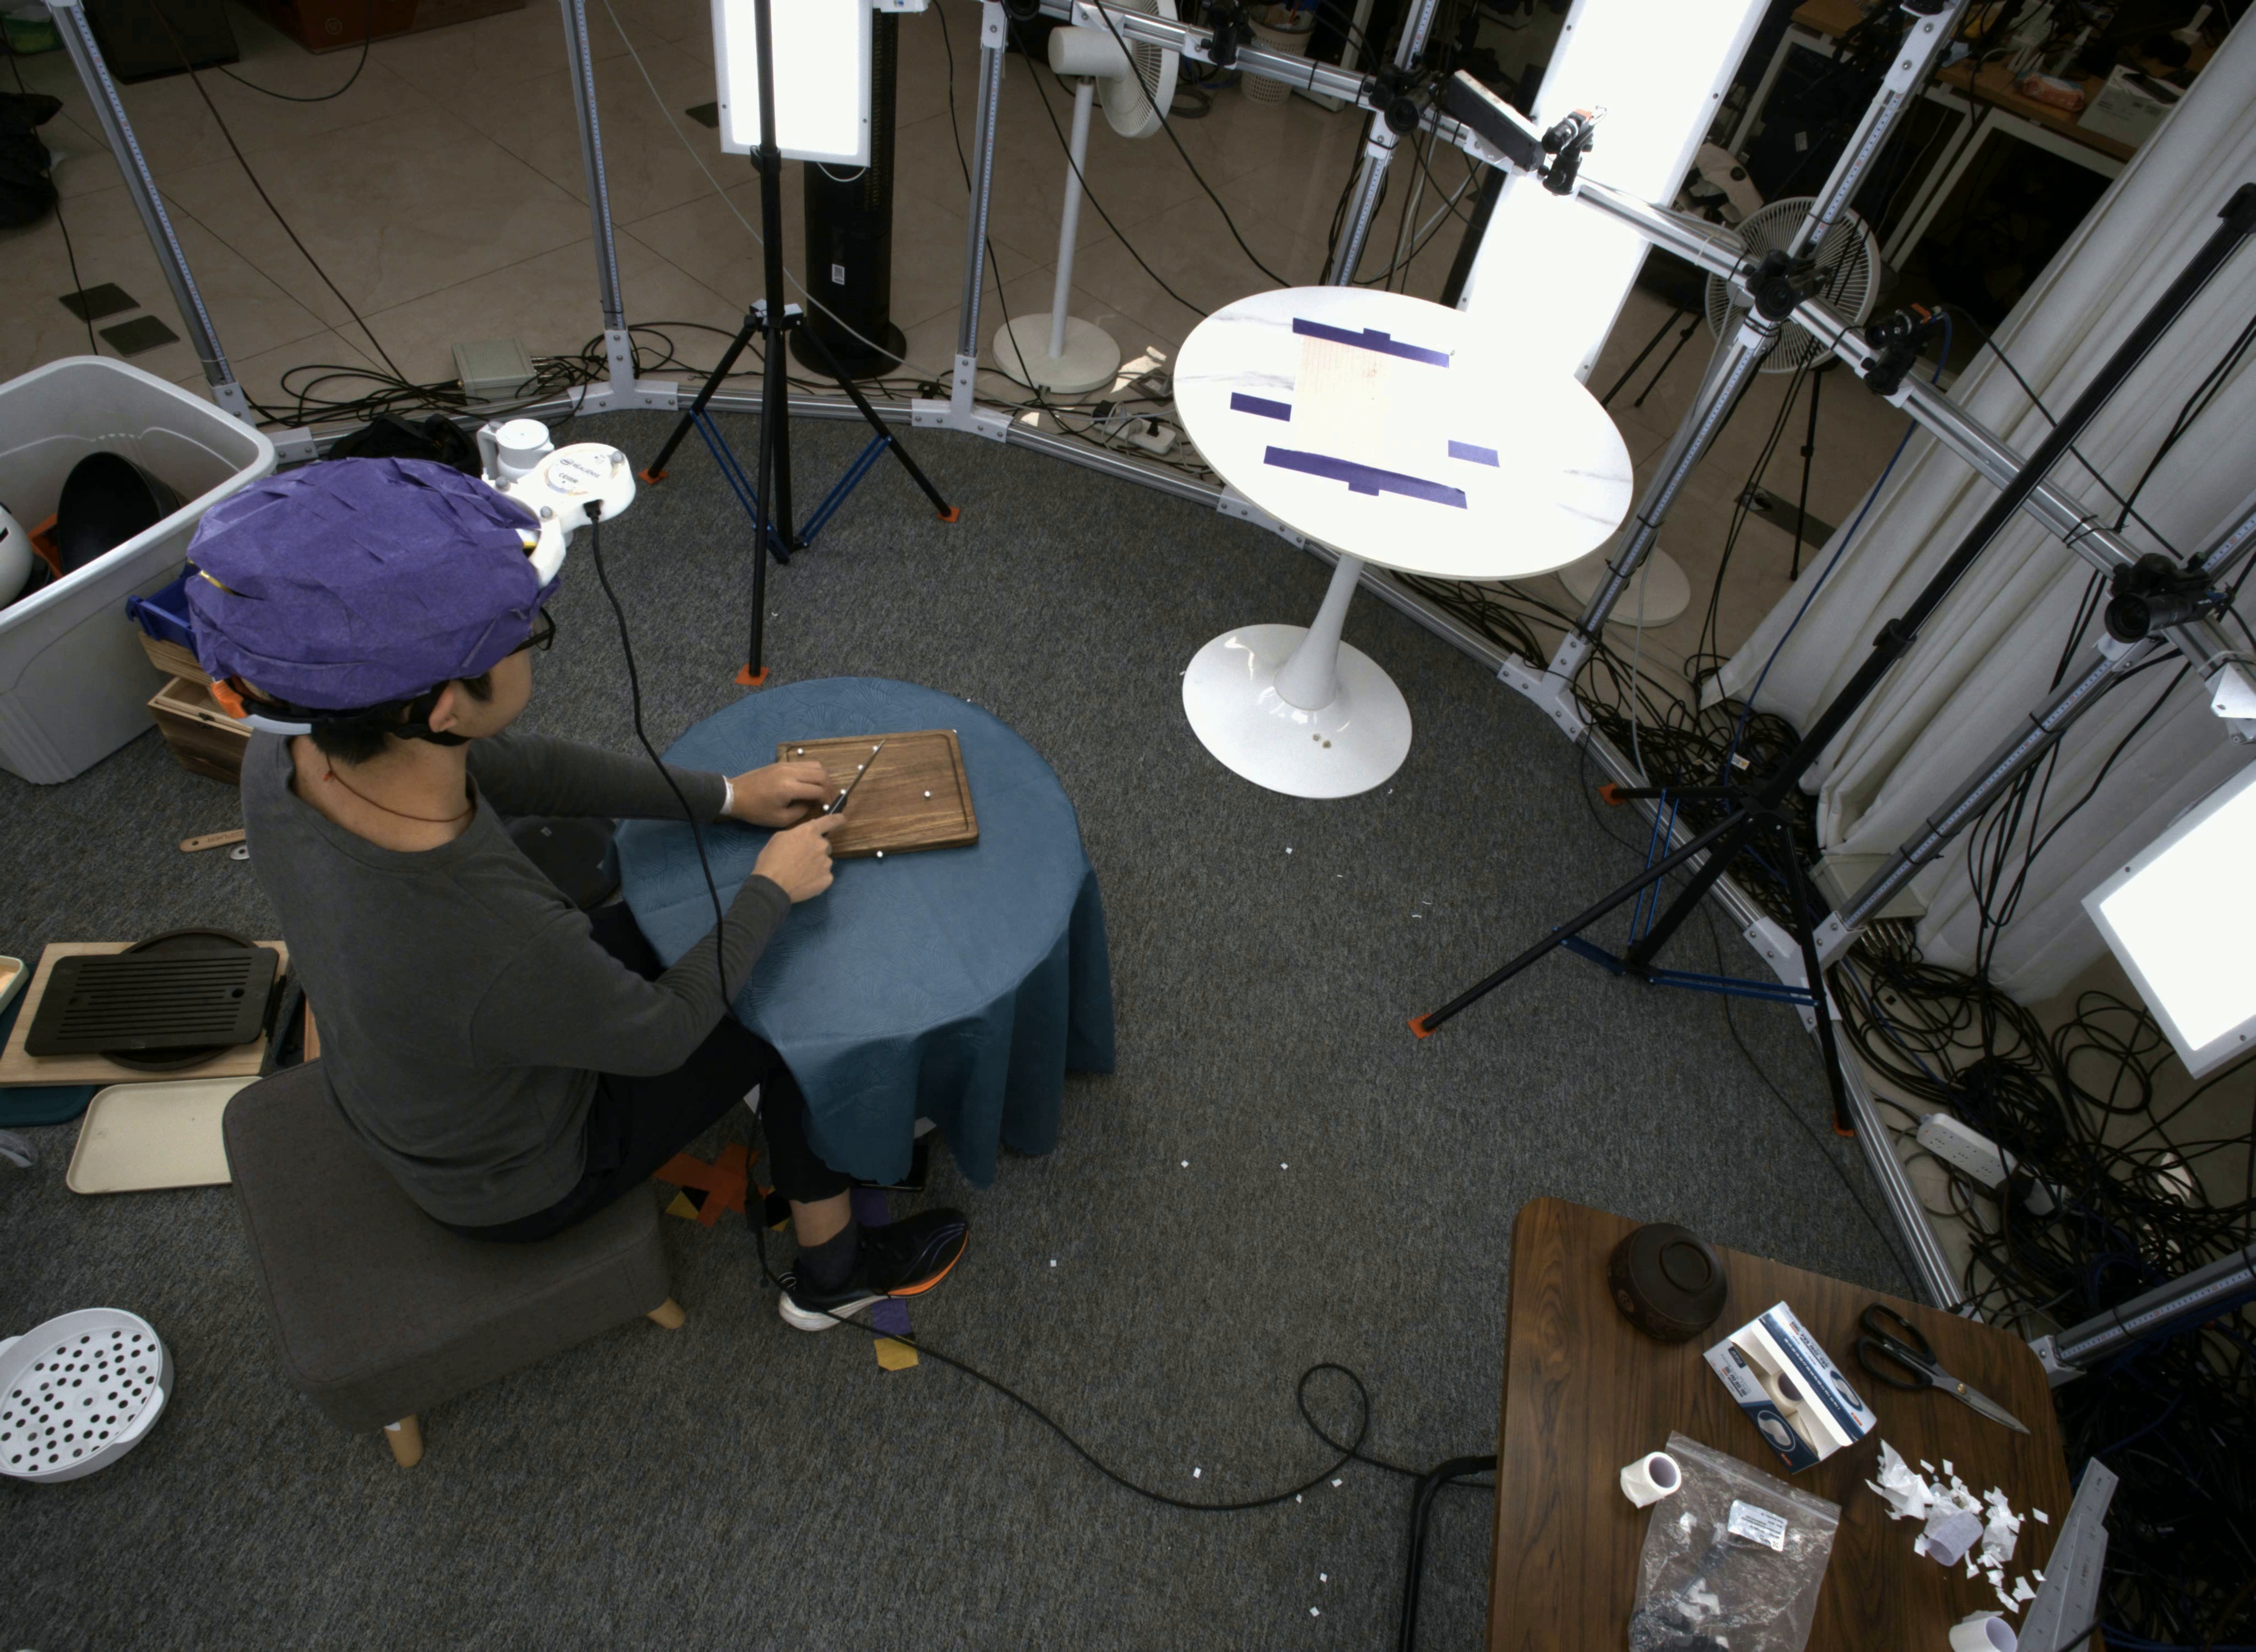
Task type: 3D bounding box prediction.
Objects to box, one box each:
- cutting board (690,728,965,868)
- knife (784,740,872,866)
[{"bbox_3d":[-0.410,-0.038,1.753,0.353,0.023,0.196,-7,56,-19],"label":"cutting board"},{"bbox_3d":[-0.387,-0.039,1.696,0.016,0.025,0.236,25,49,0],"label":"knife"}]
